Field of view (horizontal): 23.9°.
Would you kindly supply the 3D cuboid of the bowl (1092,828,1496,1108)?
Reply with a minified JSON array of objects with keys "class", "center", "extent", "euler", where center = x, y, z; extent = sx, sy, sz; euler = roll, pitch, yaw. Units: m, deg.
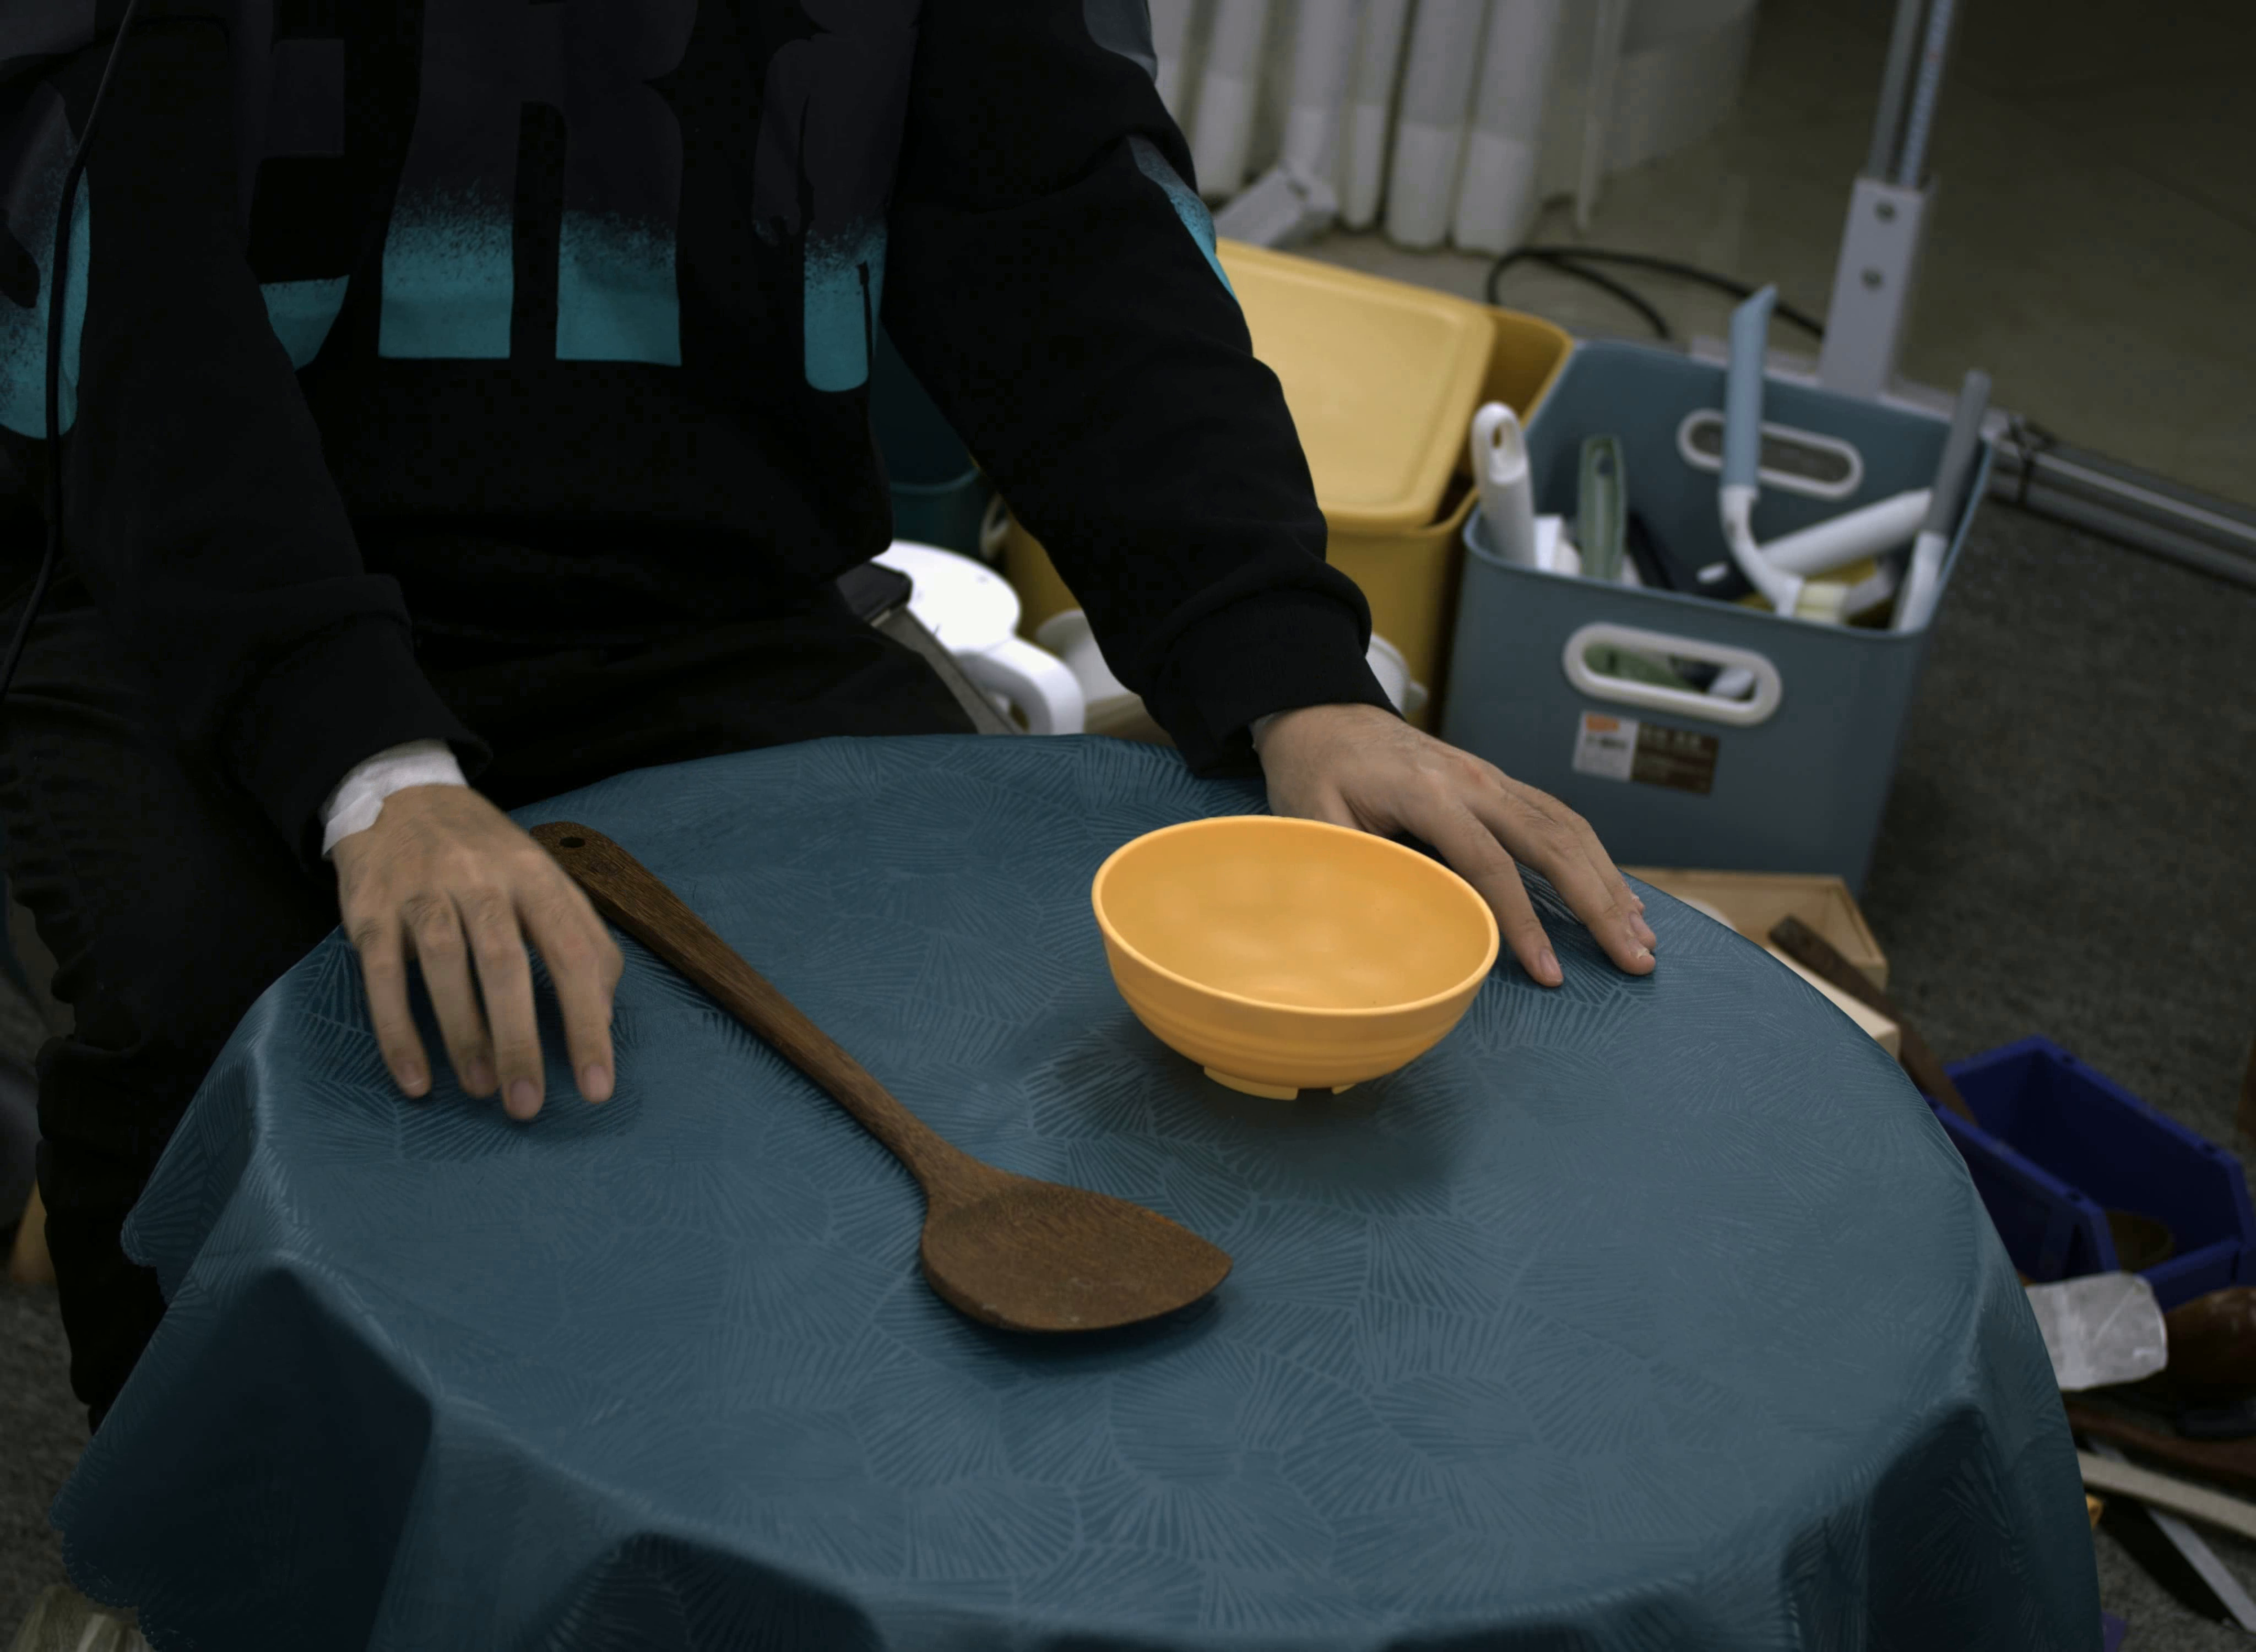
[{"class":"bowl","center":[0.055,0.058,1.882],"extent":[0.145,0.060,0.146],"euler":[7,24,-3]}]

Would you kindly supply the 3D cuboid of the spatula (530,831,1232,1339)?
[{"class":"spatula","center":[-0.106,0.082,1.845],"extent":[0.095,0.016,0.389],"euler":[-12,32,-34]}]
